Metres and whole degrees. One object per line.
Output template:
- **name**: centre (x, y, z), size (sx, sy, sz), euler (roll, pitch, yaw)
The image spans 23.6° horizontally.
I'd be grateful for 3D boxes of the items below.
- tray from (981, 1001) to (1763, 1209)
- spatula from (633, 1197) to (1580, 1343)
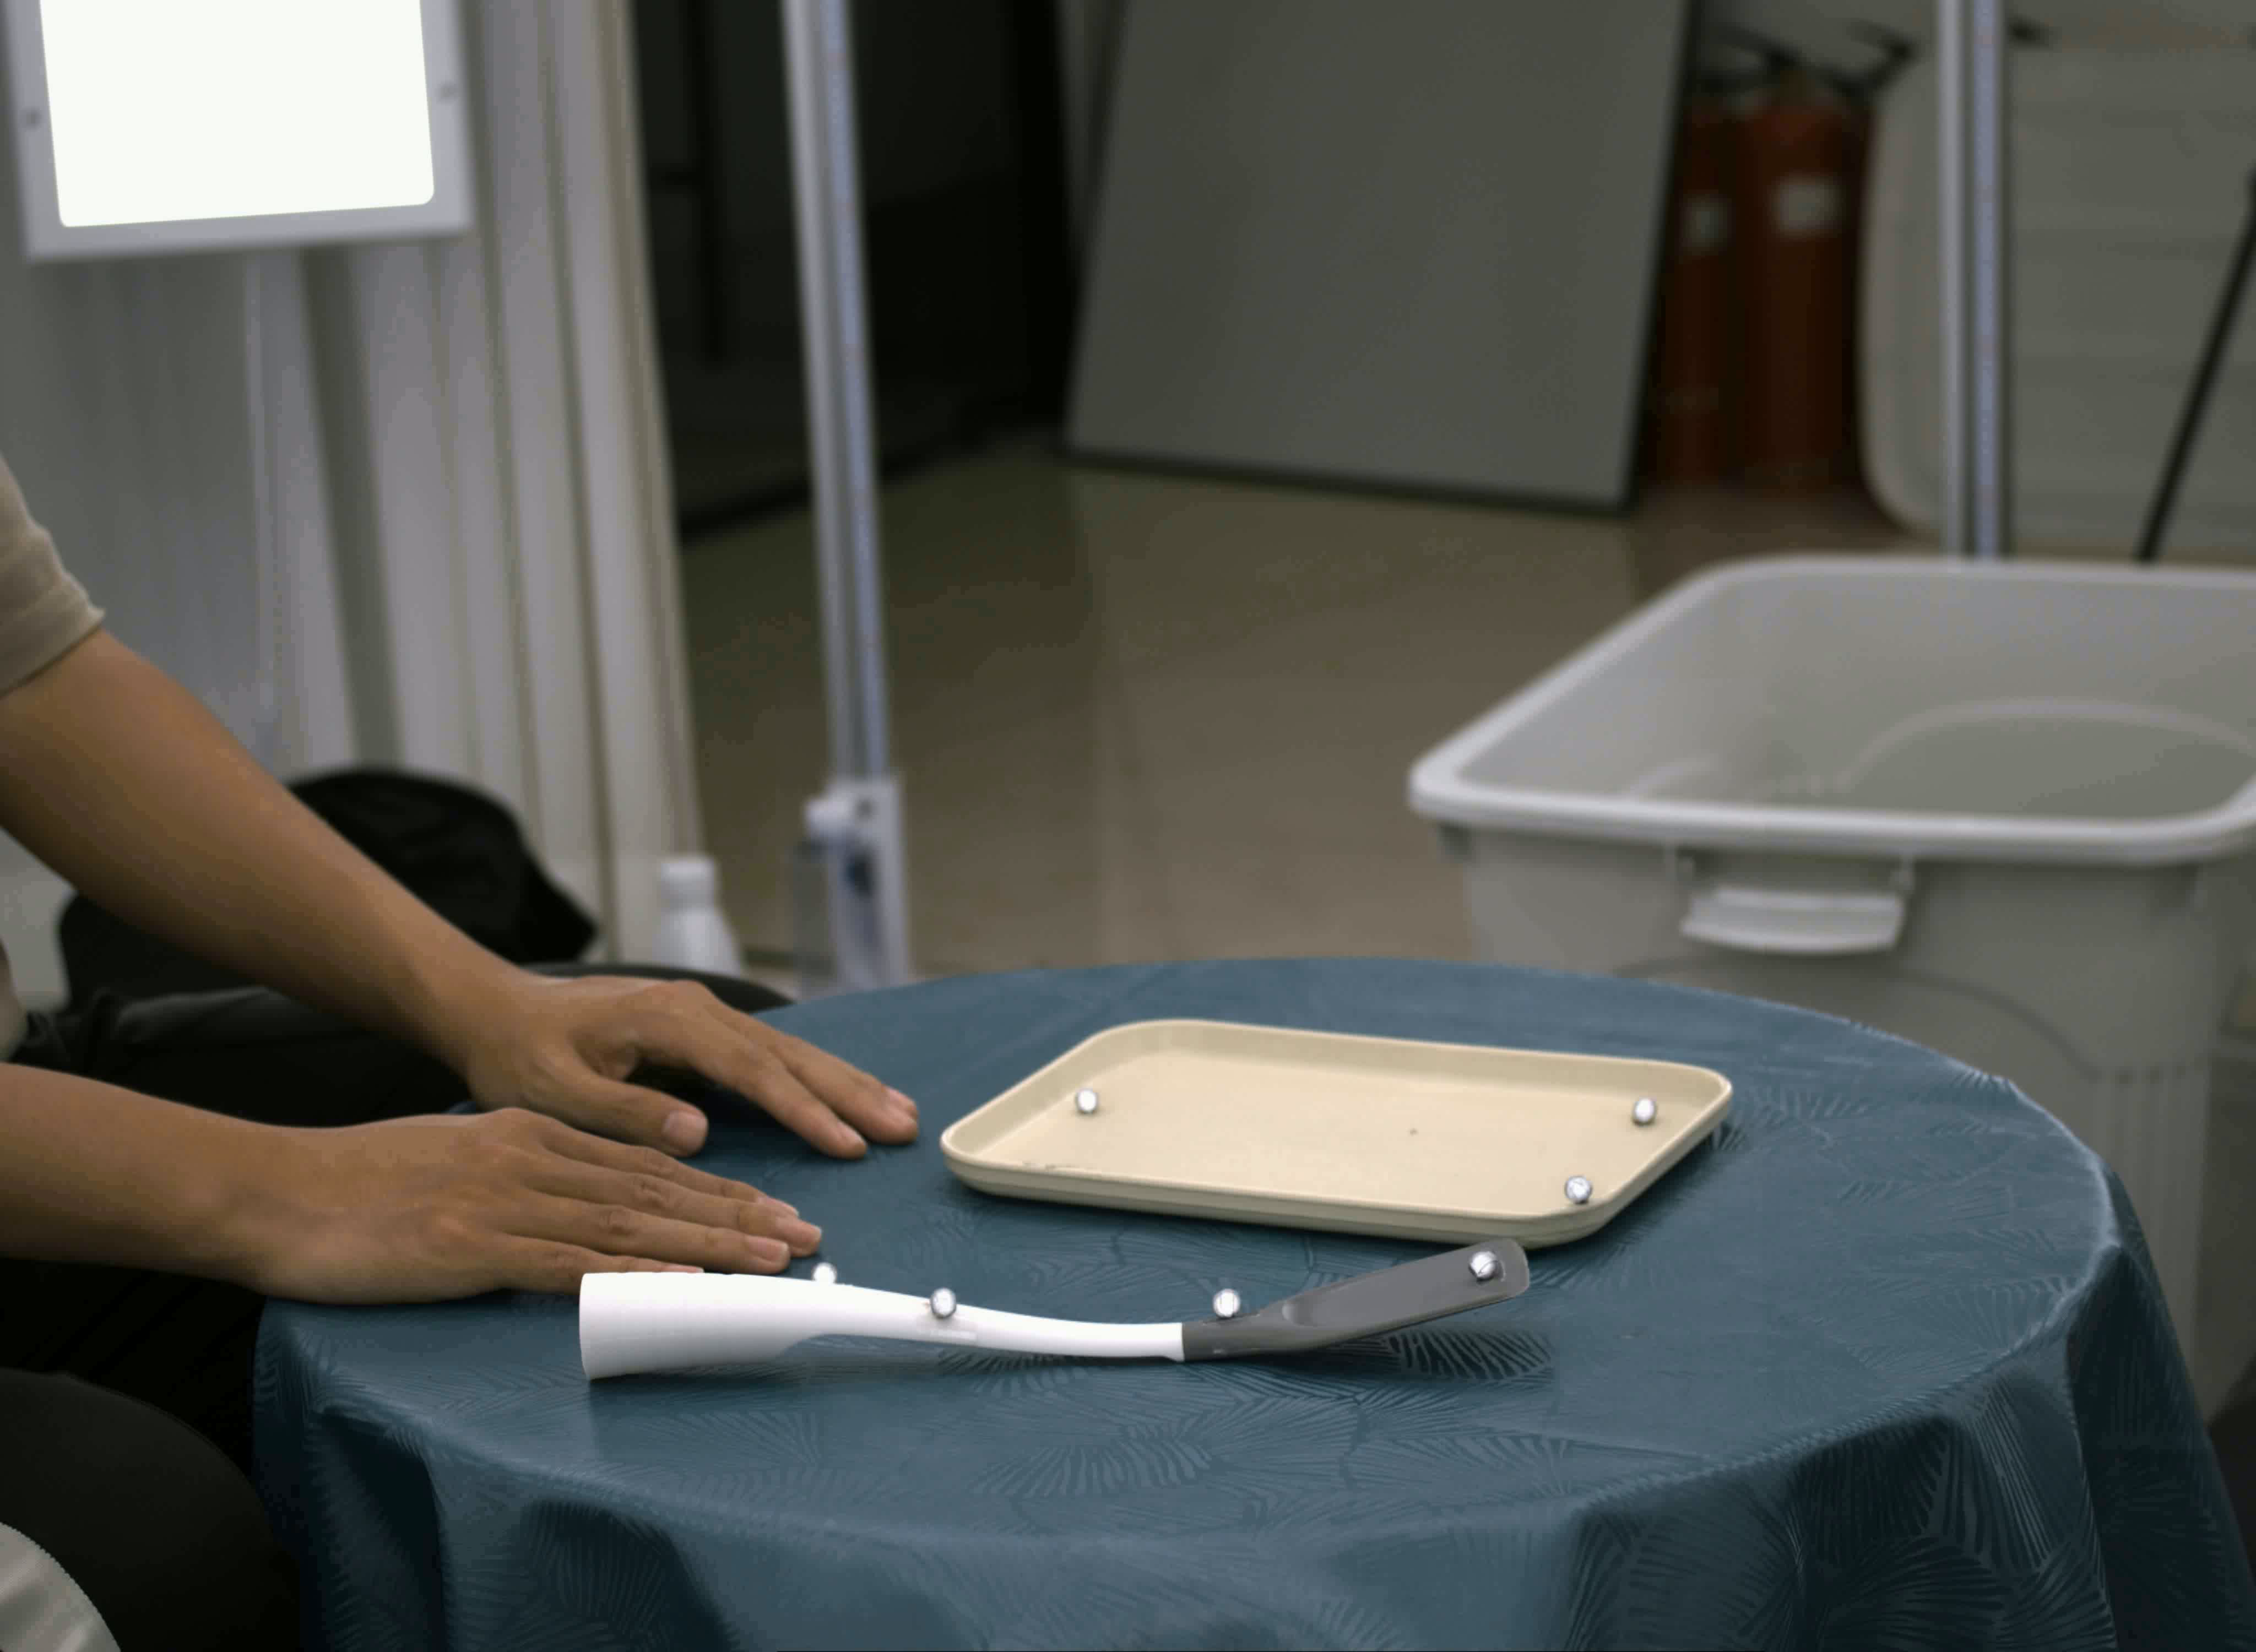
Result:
- **tray**: centre (0.083, 0.093, 1.805), size (0.240, 0.017, 0.169), euler (3, 14, 27)
- **spatula**: centre (-0.006, 0.134, 1.621), size (0.284, 0.032, 0.058), euler (-3, 9, 5)
